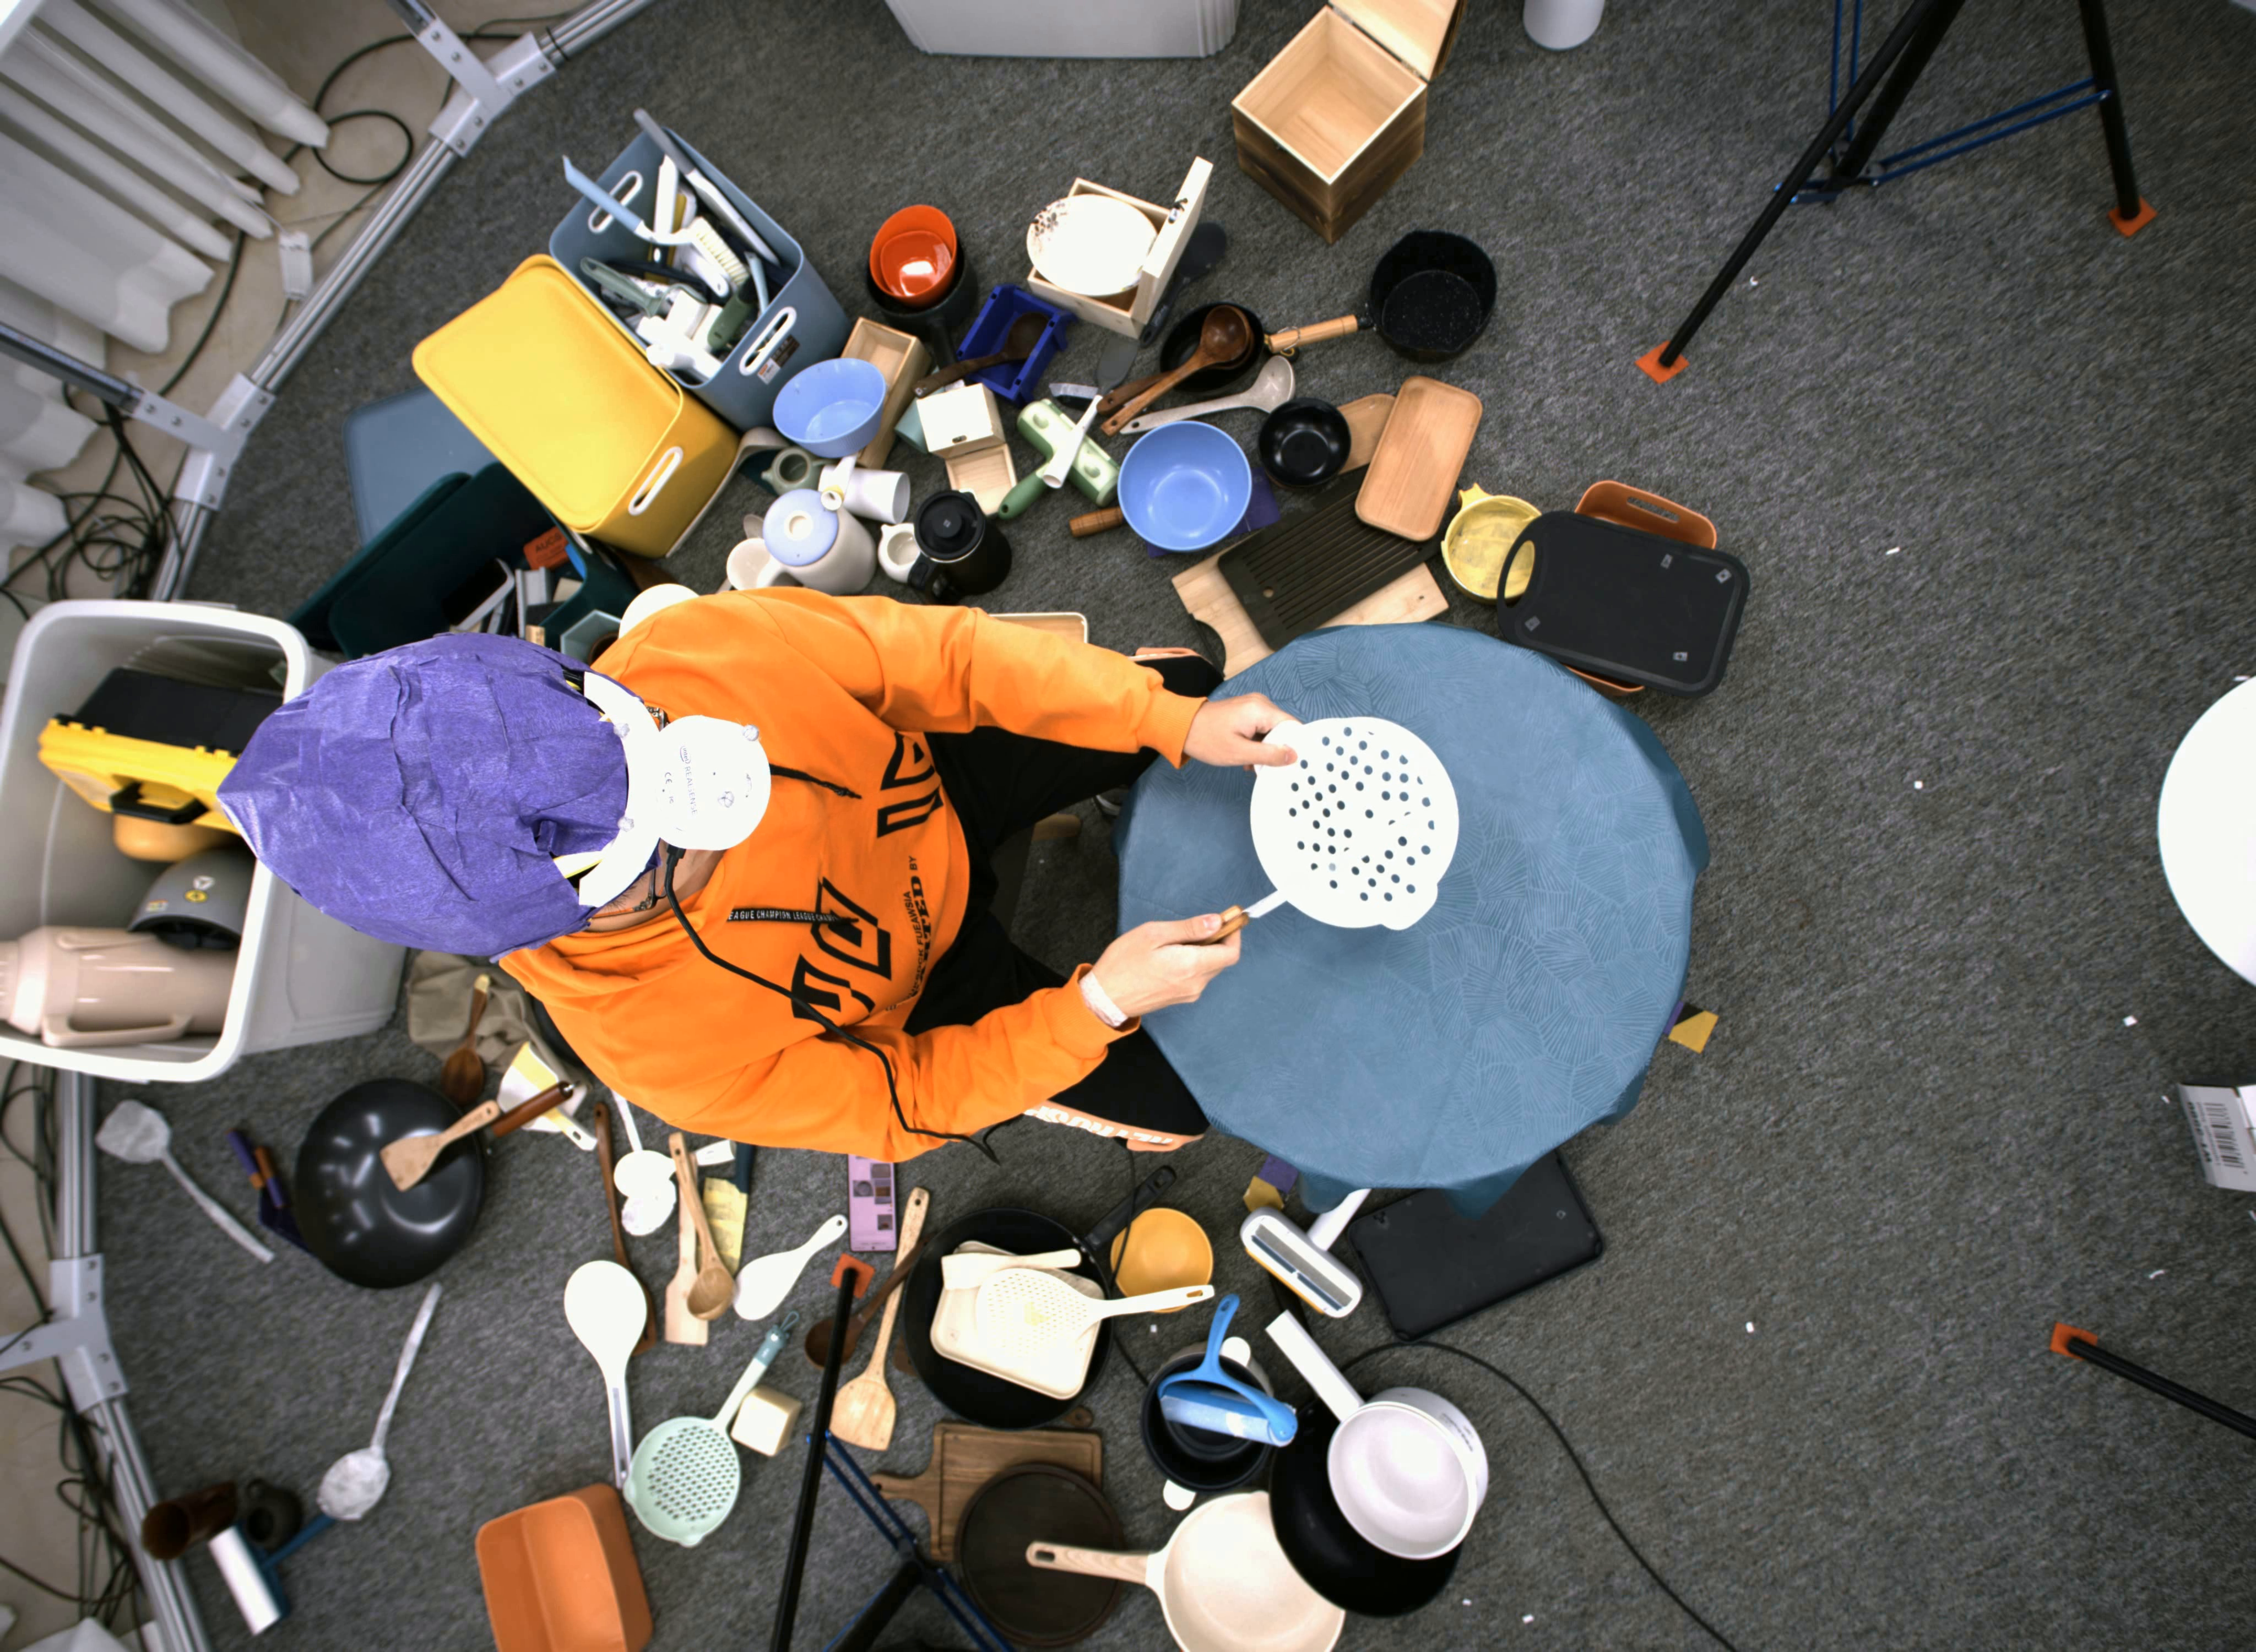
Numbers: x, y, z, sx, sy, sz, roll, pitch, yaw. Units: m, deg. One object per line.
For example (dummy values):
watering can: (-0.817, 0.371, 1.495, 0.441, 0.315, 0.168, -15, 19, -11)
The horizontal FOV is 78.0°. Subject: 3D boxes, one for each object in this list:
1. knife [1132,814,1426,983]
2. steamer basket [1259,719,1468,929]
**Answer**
knife: (0.143, 0.067, 1.300, 0.309, 0.092, 0.021, -32, 77, 16)
steamer basket: (0.230, -0.006, 1.339, 0.229, 0.068, 0.206, 48, 125, 11)
